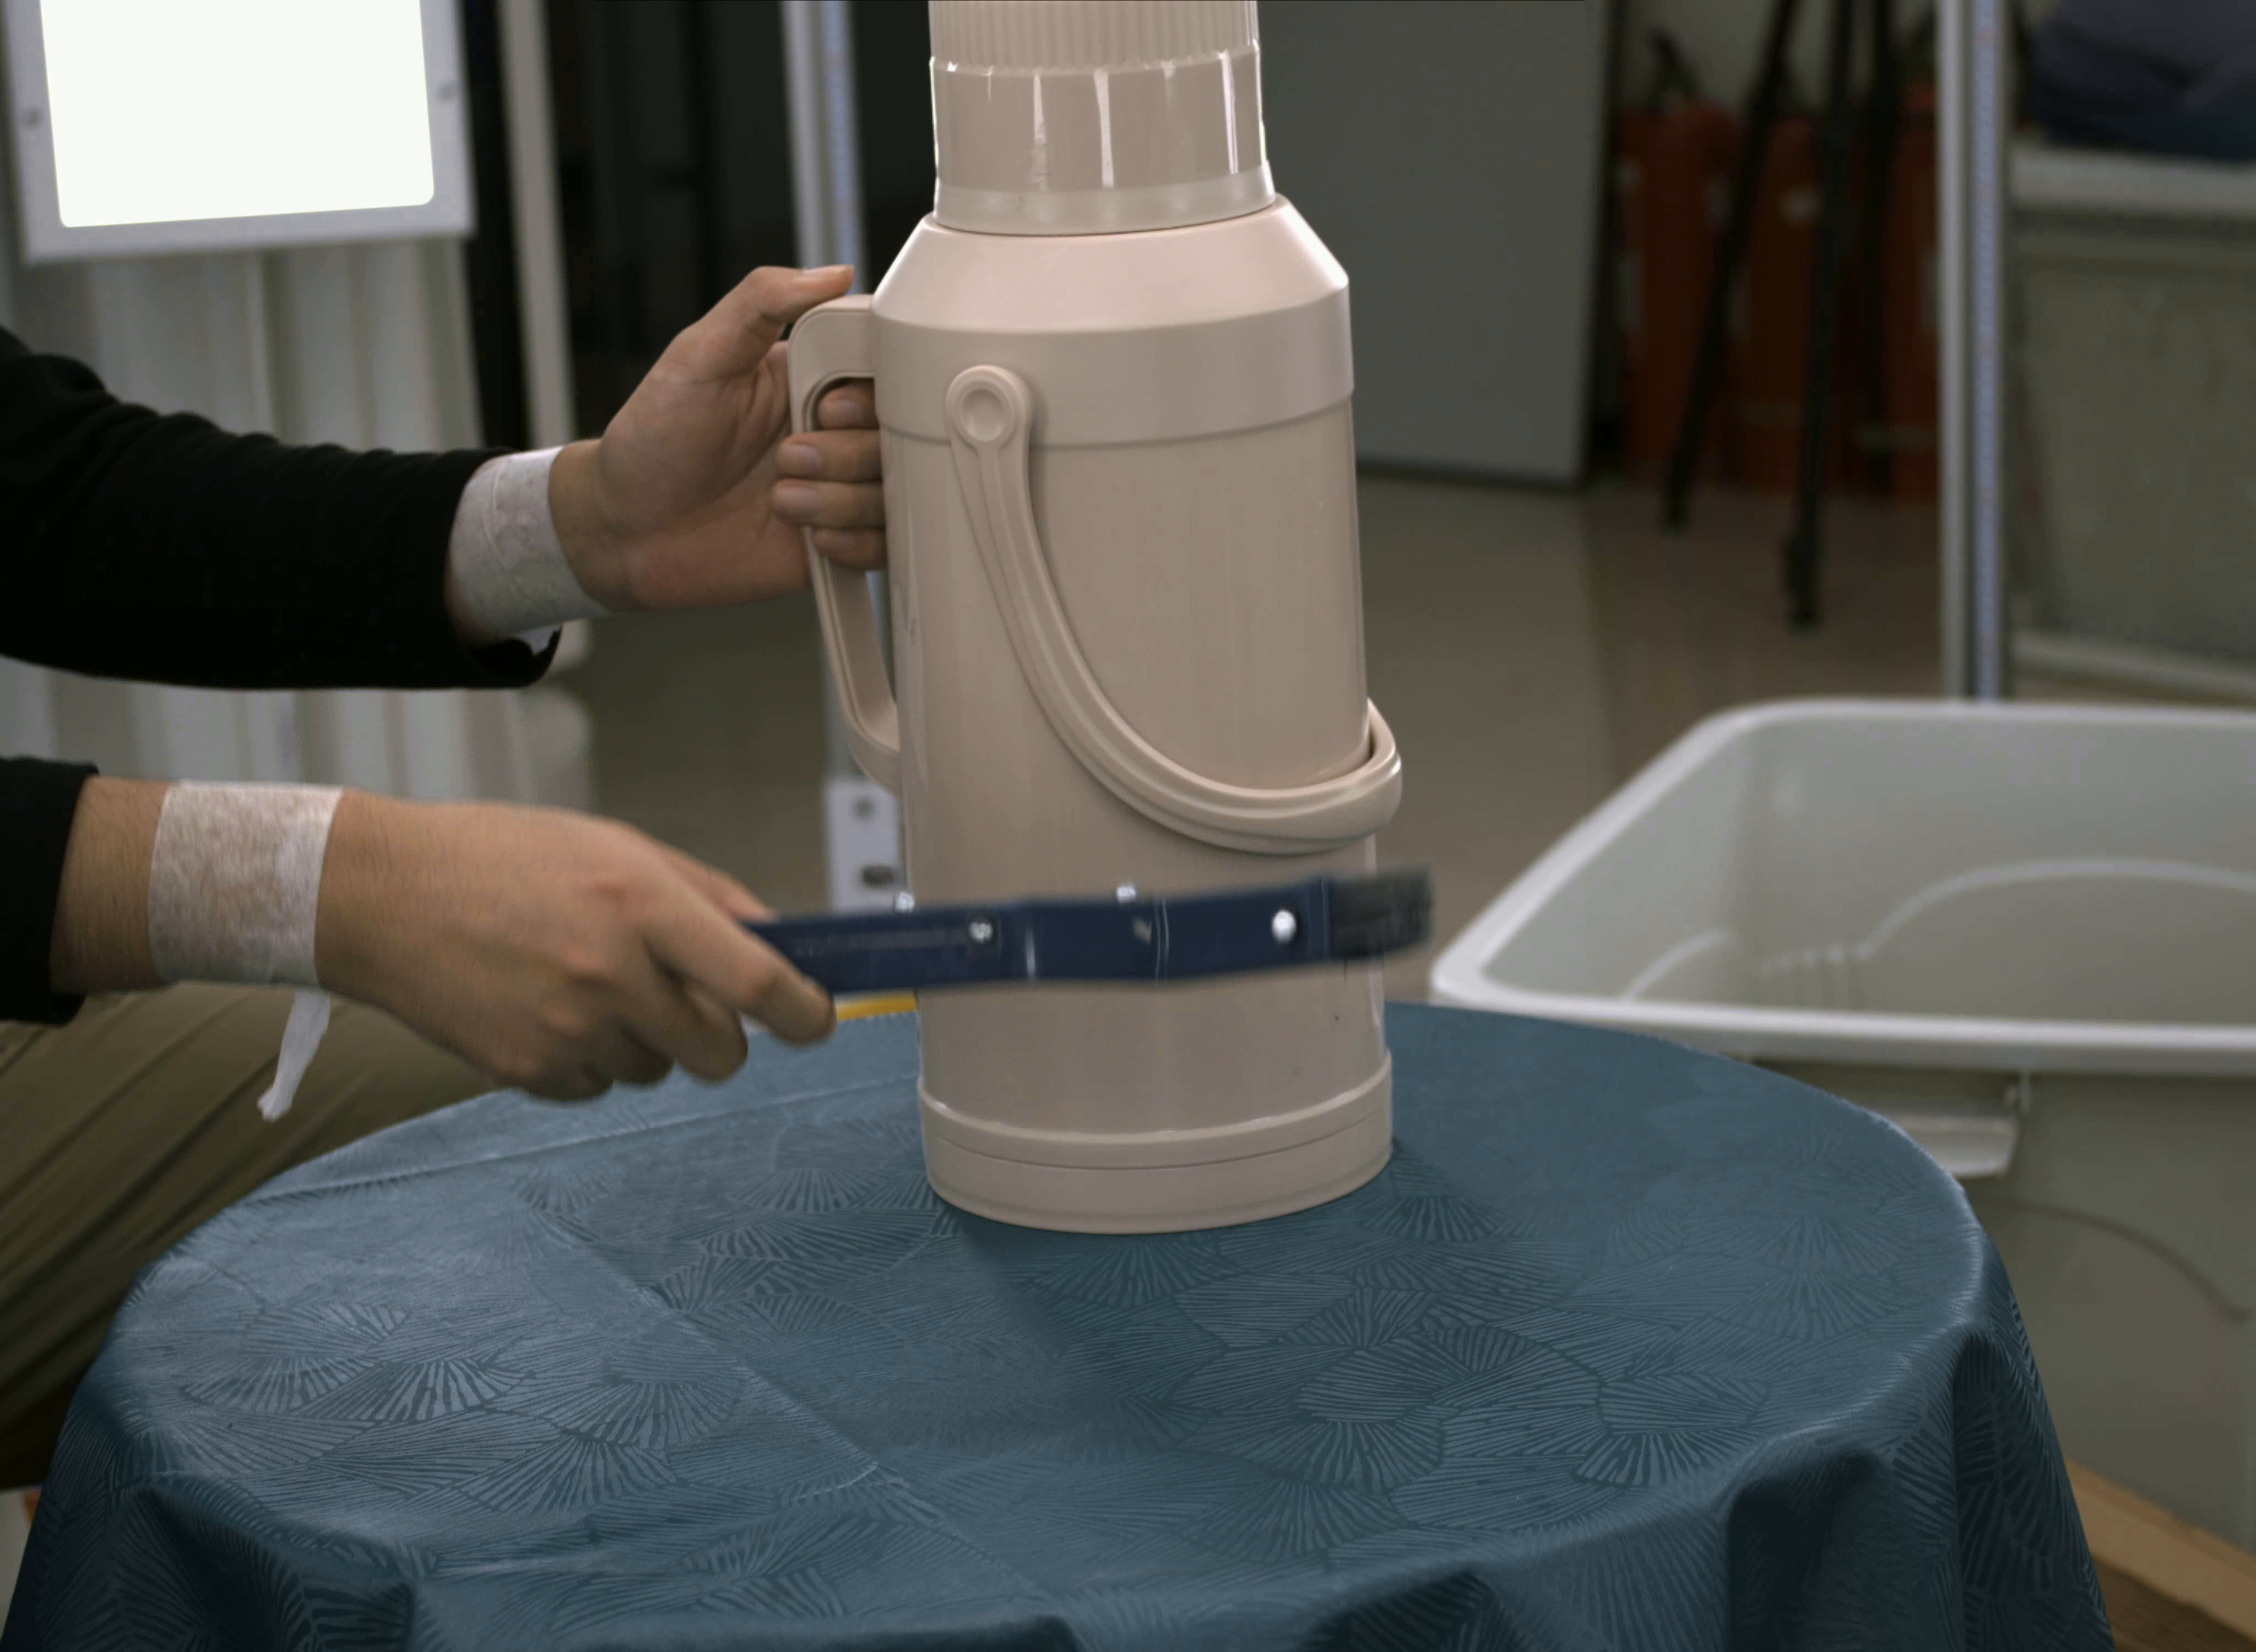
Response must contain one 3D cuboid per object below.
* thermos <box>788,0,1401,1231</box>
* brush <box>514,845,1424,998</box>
[{"bbox_3d":[-0.013,-0.083,1.766,0.207,0.410,0.173,4,17,28],"label":"thermos"},{"bbox_3d":[-0.050,0.024,1.547,0.271,0.034,0.095,-3,-9,8],"label":"brush"}]
